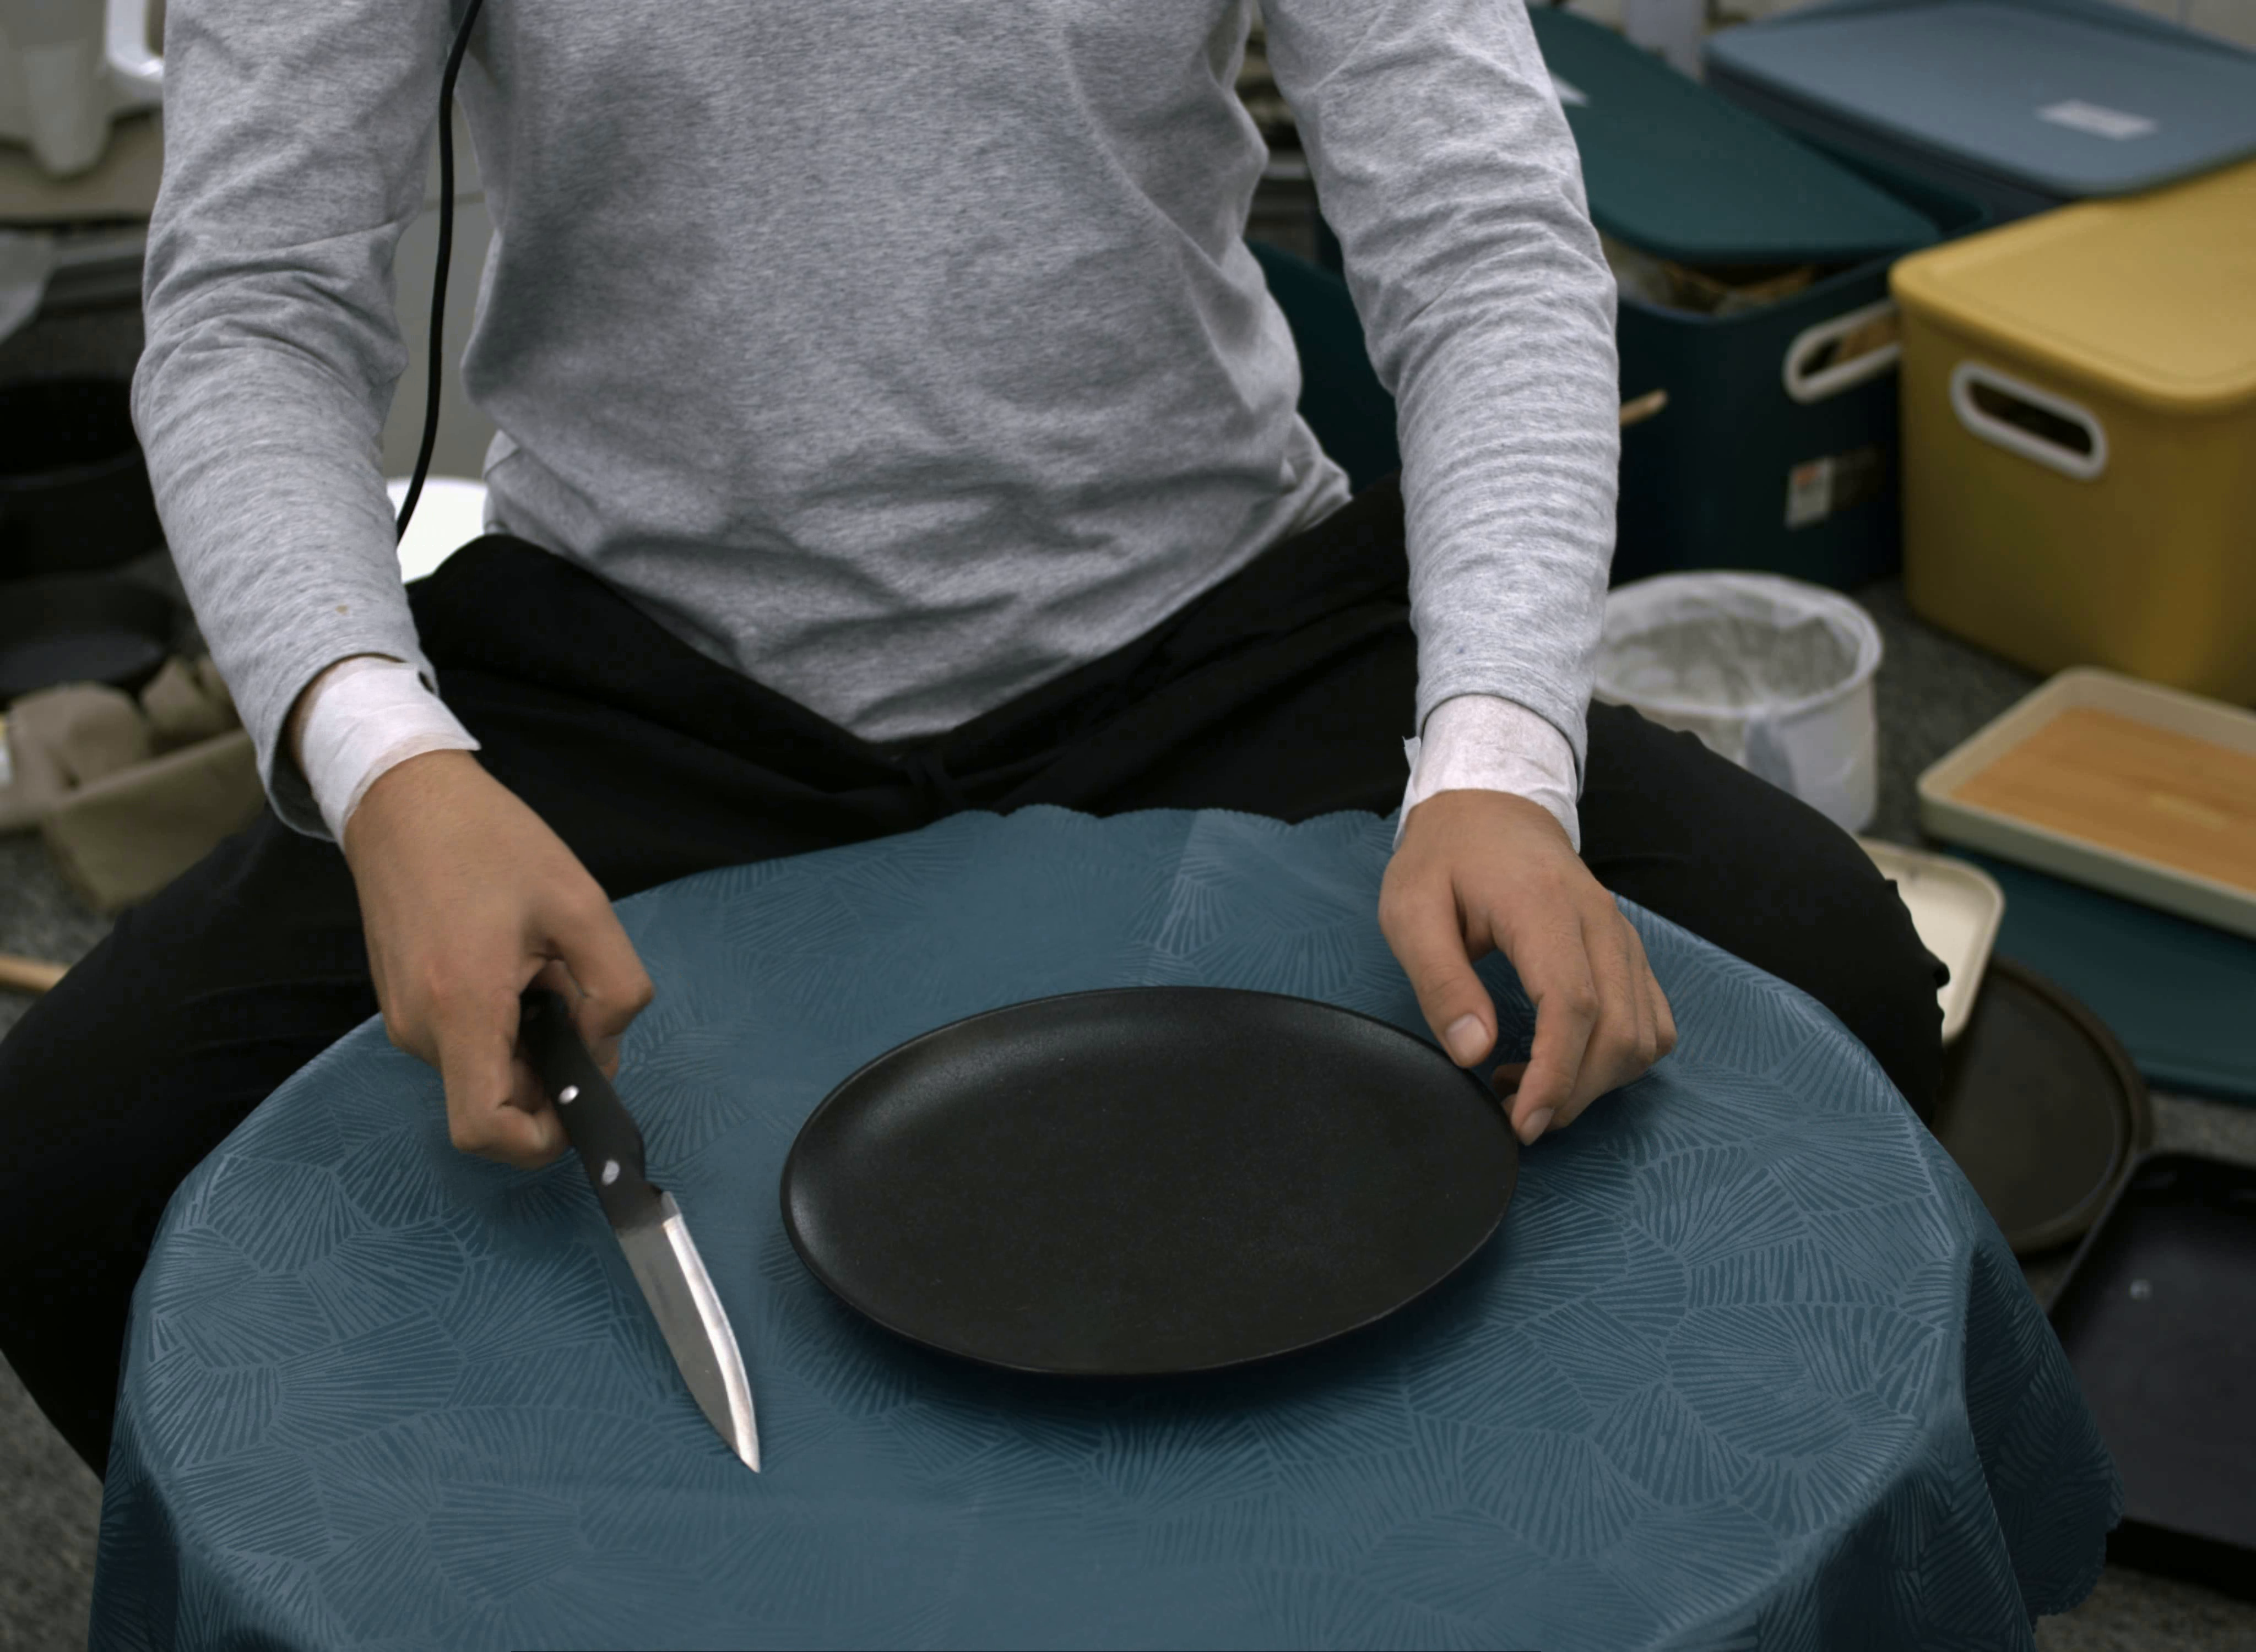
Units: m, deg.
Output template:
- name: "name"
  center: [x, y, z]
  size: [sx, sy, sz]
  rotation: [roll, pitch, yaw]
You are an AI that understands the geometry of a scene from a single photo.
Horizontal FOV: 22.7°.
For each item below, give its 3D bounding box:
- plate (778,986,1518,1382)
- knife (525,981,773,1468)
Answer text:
- name: "plate"
  center: [0.007, 0.121, 1.838]
  size: [0.243, 0.023, 0.248]
  rotation: [-2, 27, 1]
- name: "knife"
  center: [-0.155, 0.129, 1.810]
  size: [0.024, 0.016, 0.241]
  rotation: [-29, 43, -2]
